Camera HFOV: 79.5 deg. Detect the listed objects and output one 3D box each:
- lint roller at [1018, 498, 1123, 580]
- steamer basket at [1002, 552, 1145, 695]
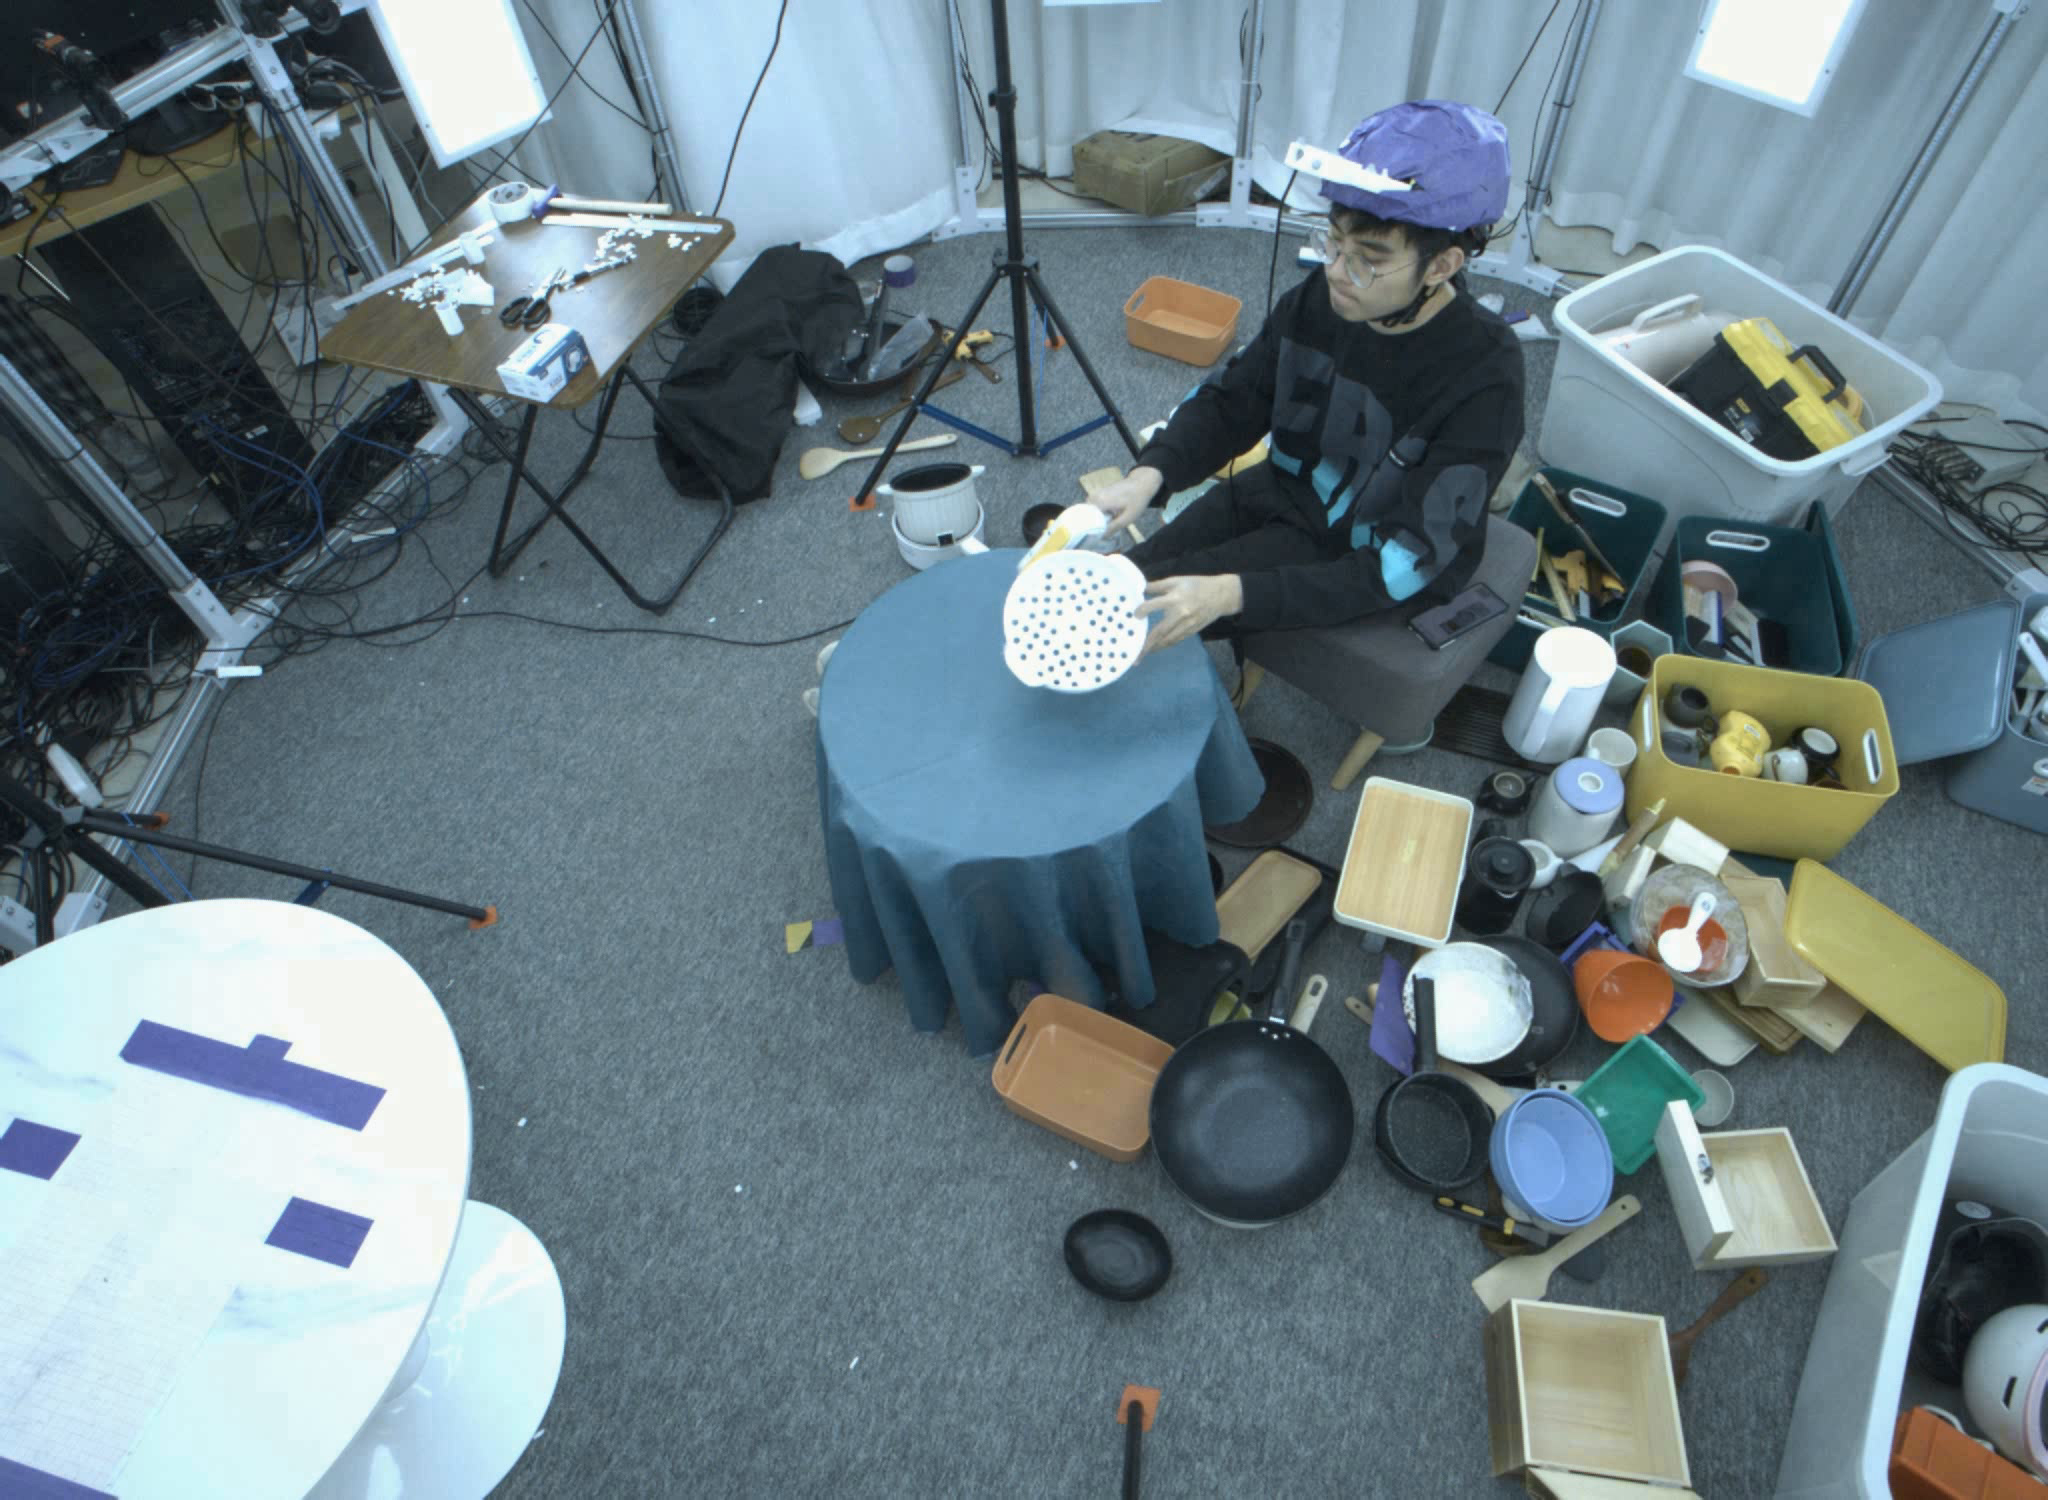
[{"bbox_3d":[0.091,-0.322,1.831,0.195,0.191,0.073,-27,76,-41],"label":"lint roller"},{"bbox_3d":[0.067,-0.177,1.746,0.231,0.069,0.202,-43,90,-8],"label":"steamer basket"}]
